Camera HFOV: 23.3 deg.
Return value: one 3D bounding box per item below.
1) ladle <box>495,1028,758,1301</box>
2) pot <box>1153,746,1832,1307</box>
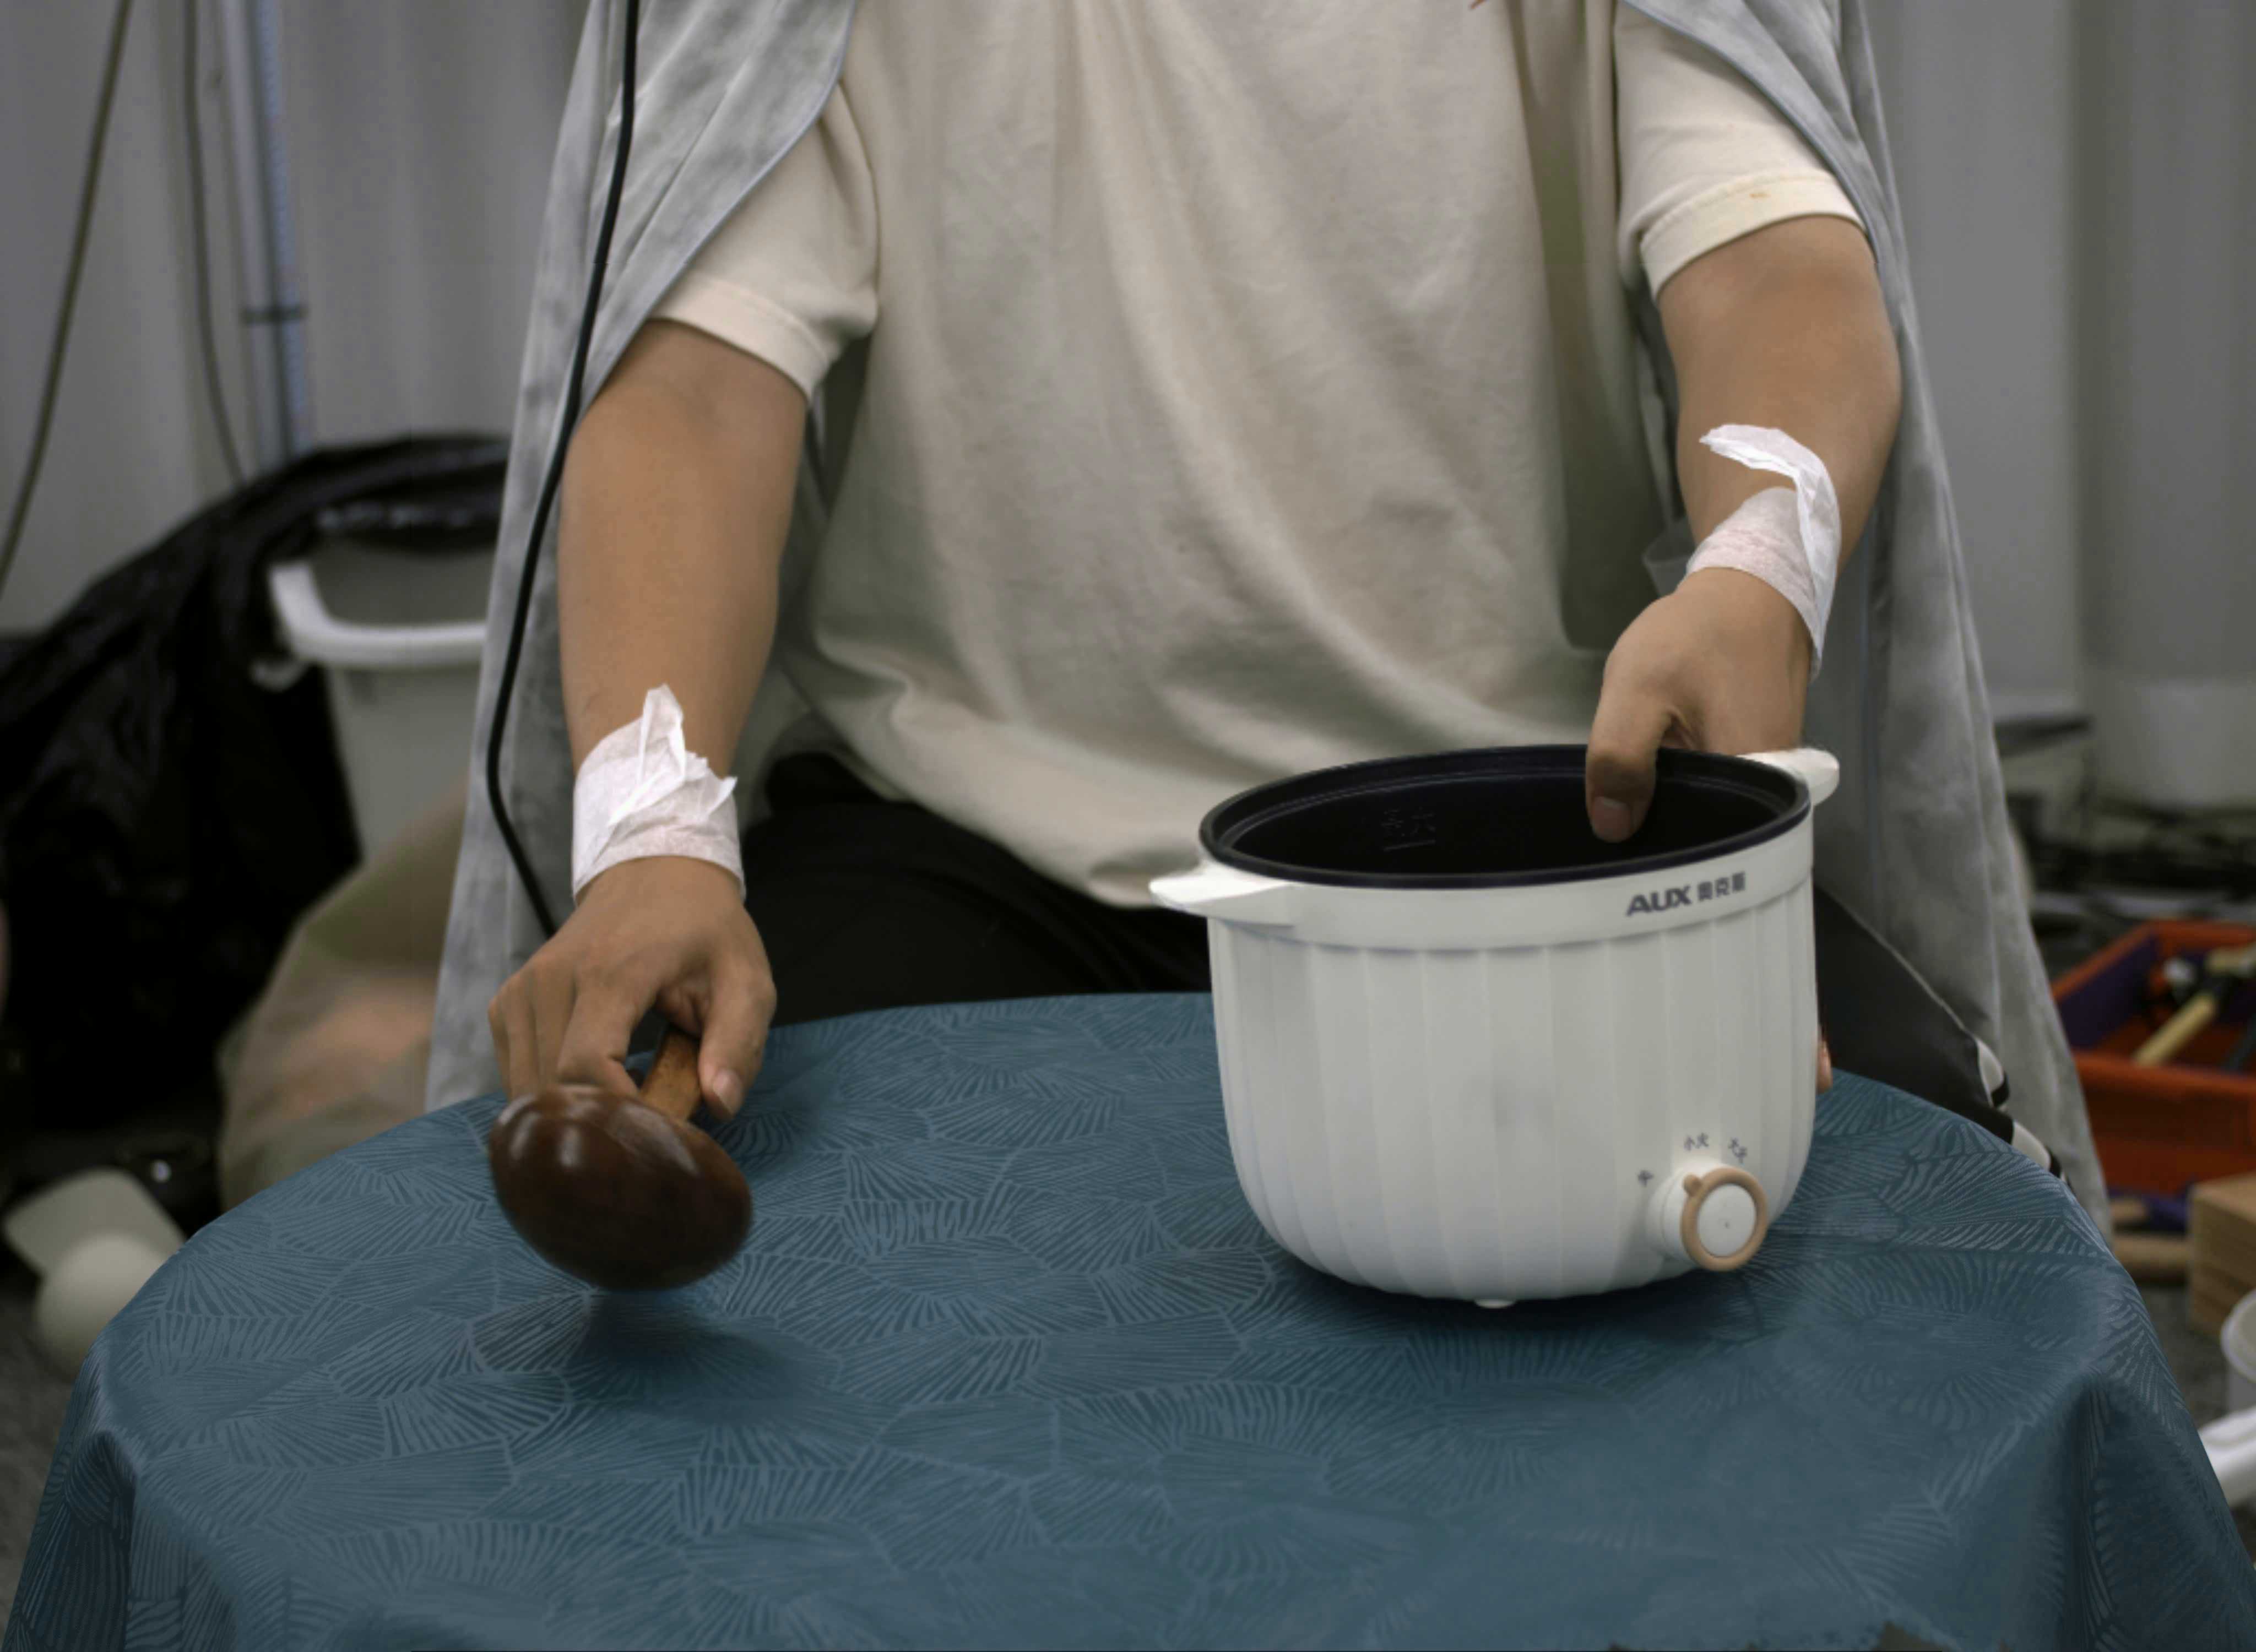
[{"bbox_3d":[-0.138,0.081,1.693,0.082,0.076,0.275,30,15,-3],"label":"ladle"},{"bbox_3d":[0.119,0.060,1.624,0.239,0.142,0.191,-12,11,-30],"label":"pot"}]
